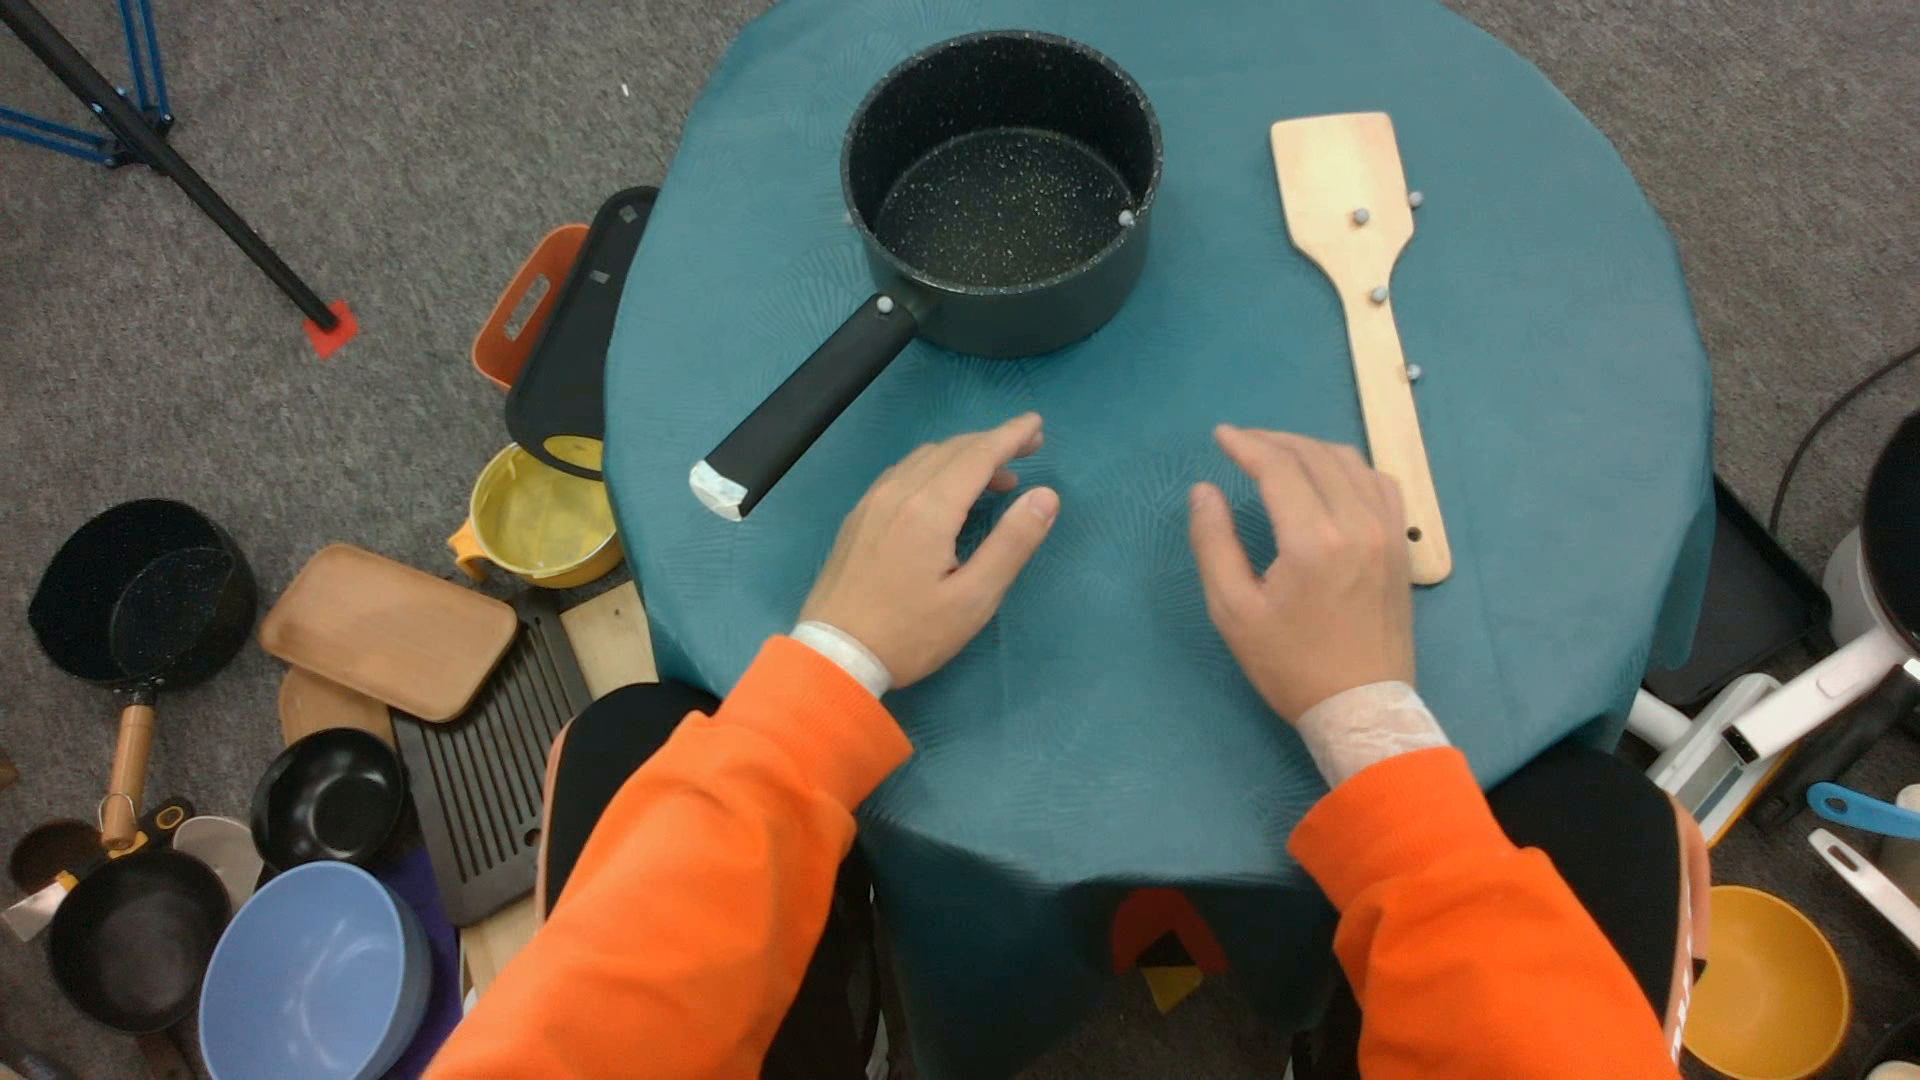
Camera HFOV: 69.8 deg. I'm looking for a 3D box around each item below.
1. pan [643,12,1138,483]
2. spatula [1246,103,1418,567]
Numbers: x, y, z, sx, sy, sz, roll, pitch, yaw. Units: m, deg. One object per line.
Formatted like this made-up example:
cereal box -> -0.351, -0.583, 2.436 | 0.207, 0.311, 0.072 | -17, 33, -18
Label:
pan -> -0.038, -0.141, 0.735 | 0.172, 0.086, 0.330 | 34, 71, 17
spatula -> 0.211, -0.121, 0.751 | 0.072, 0.010, 0.294 | -3, 66, -1
